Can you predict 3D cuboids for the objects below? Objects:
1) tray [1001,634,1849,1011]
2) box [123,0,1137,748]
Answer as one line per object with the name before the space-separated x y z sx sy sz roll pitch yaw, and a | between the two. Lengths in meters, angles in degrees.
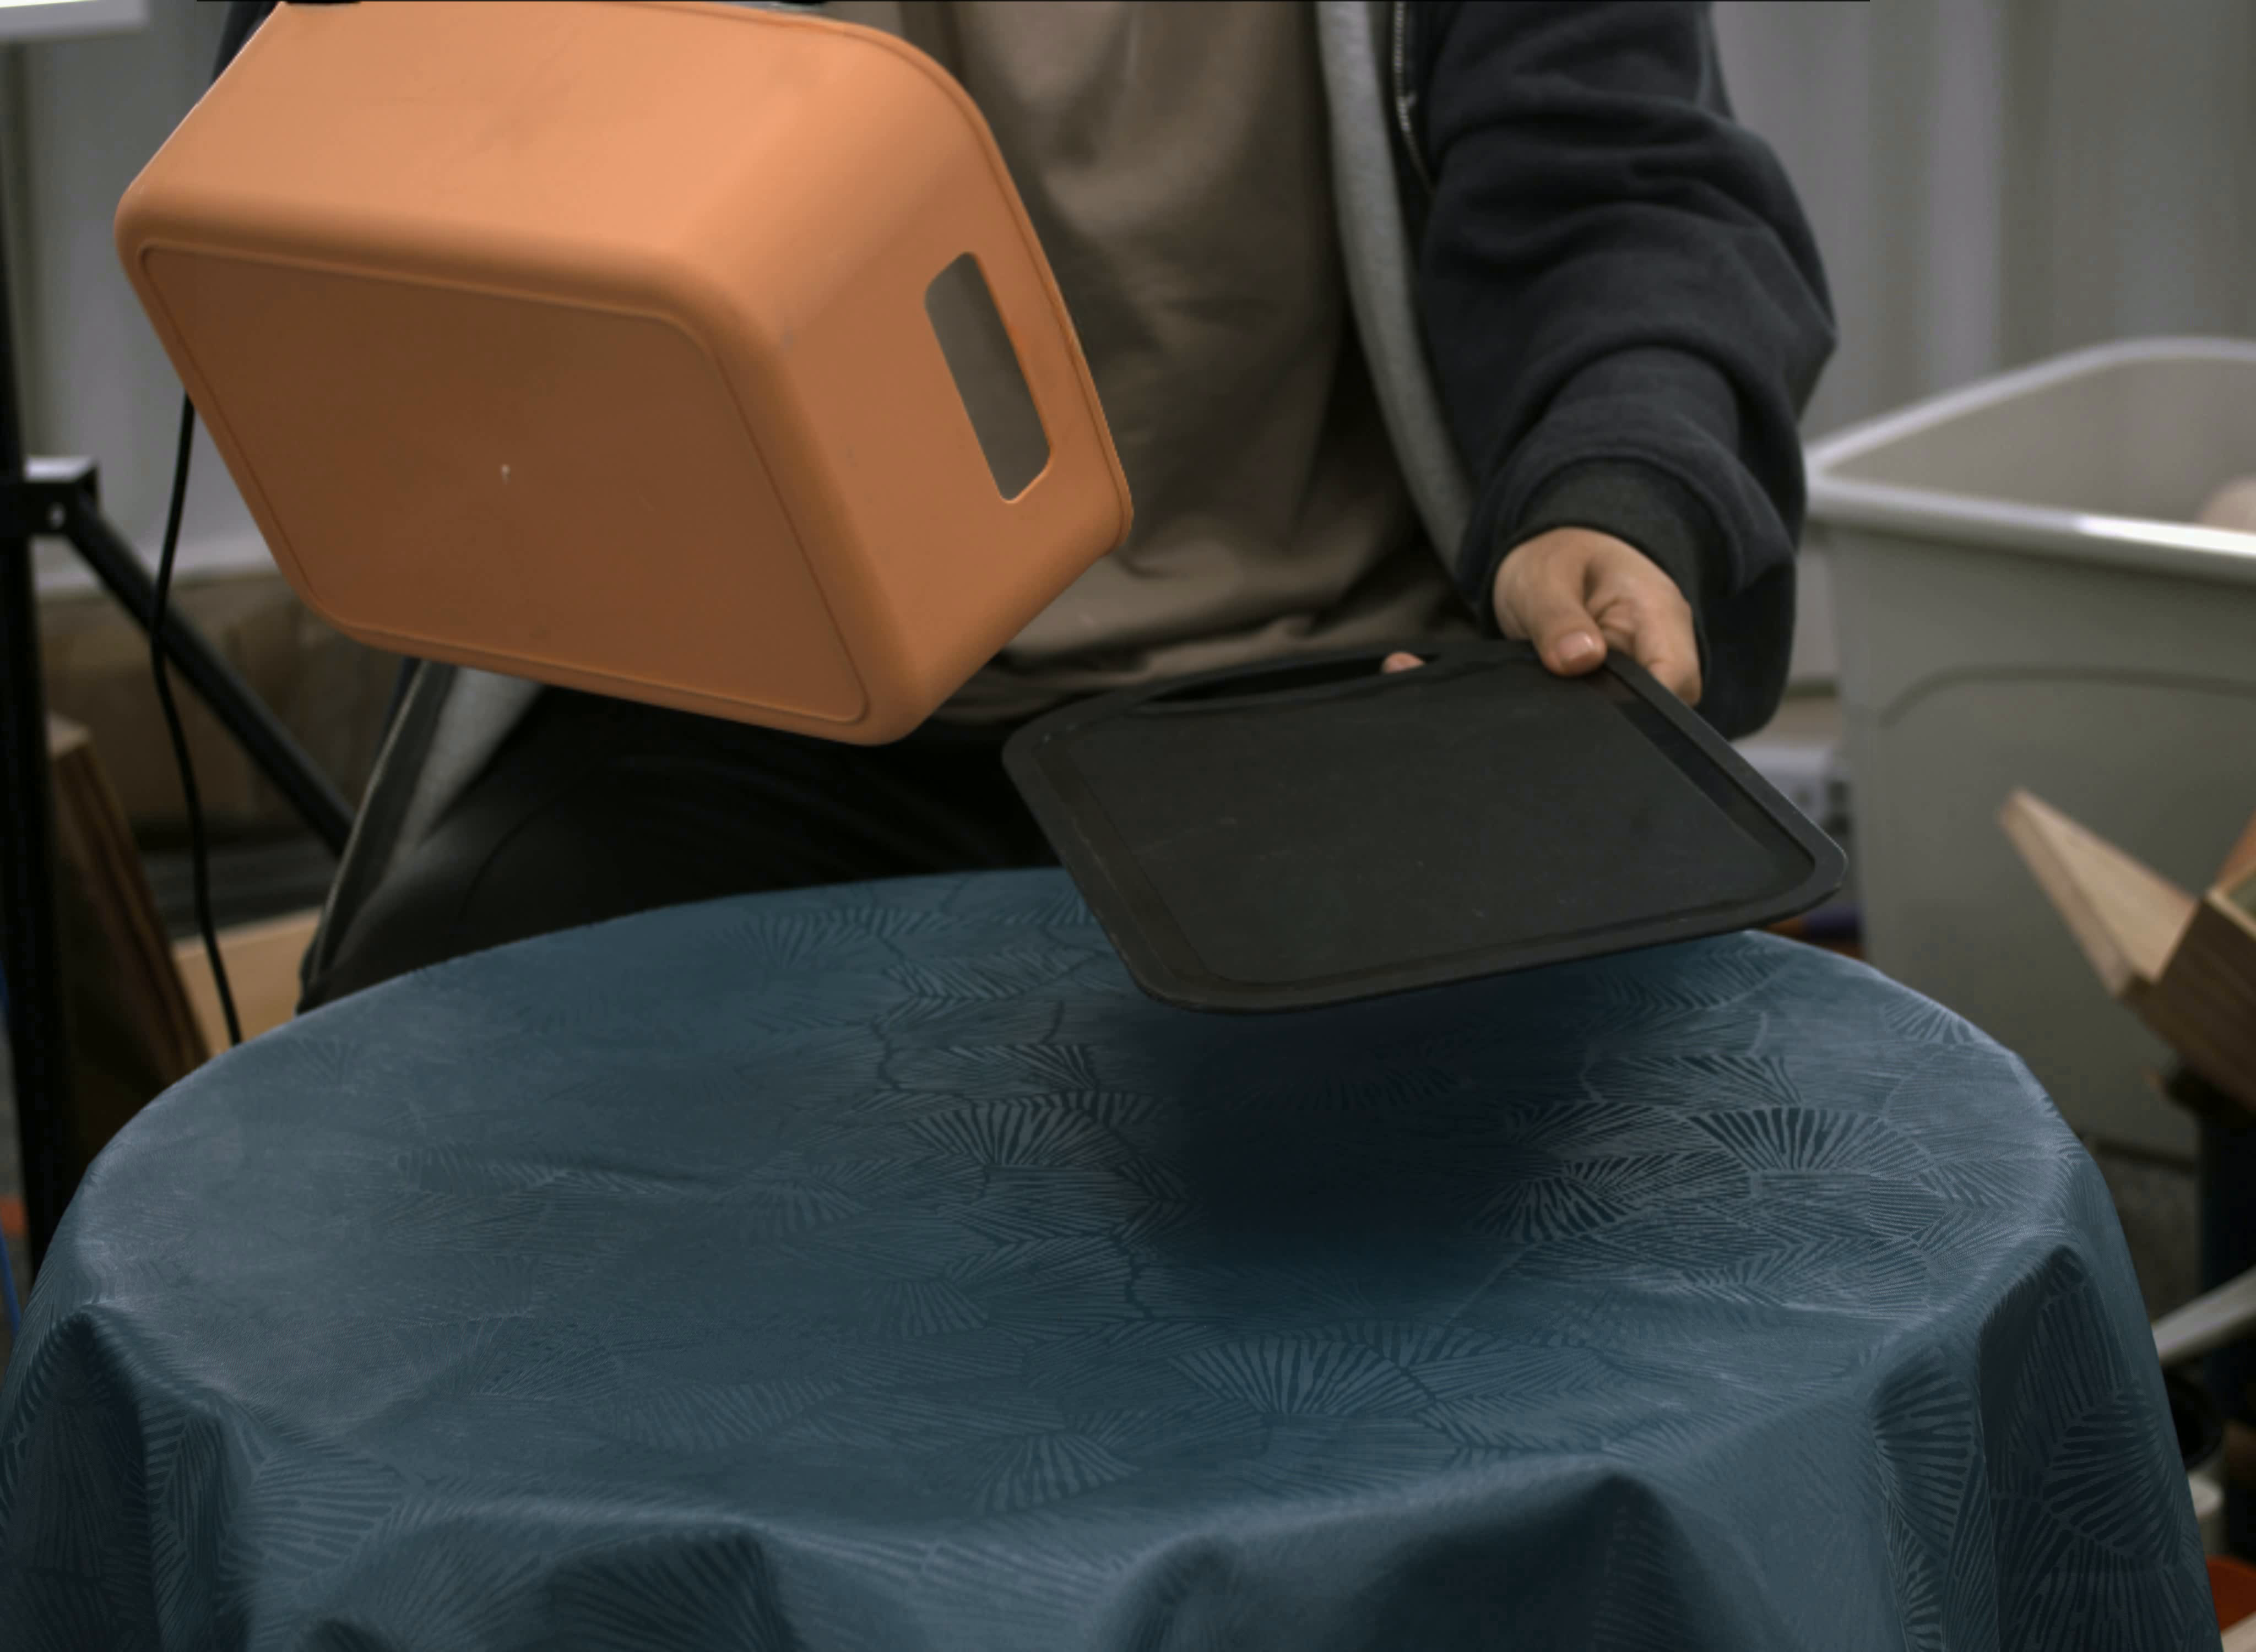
tray | 0.080 -0.008 1.619 0.209 0.010 0.329 -10 19 -8
box | -0.148 -0.129 1.518 0.279 0.196 0.102 12 49 37
